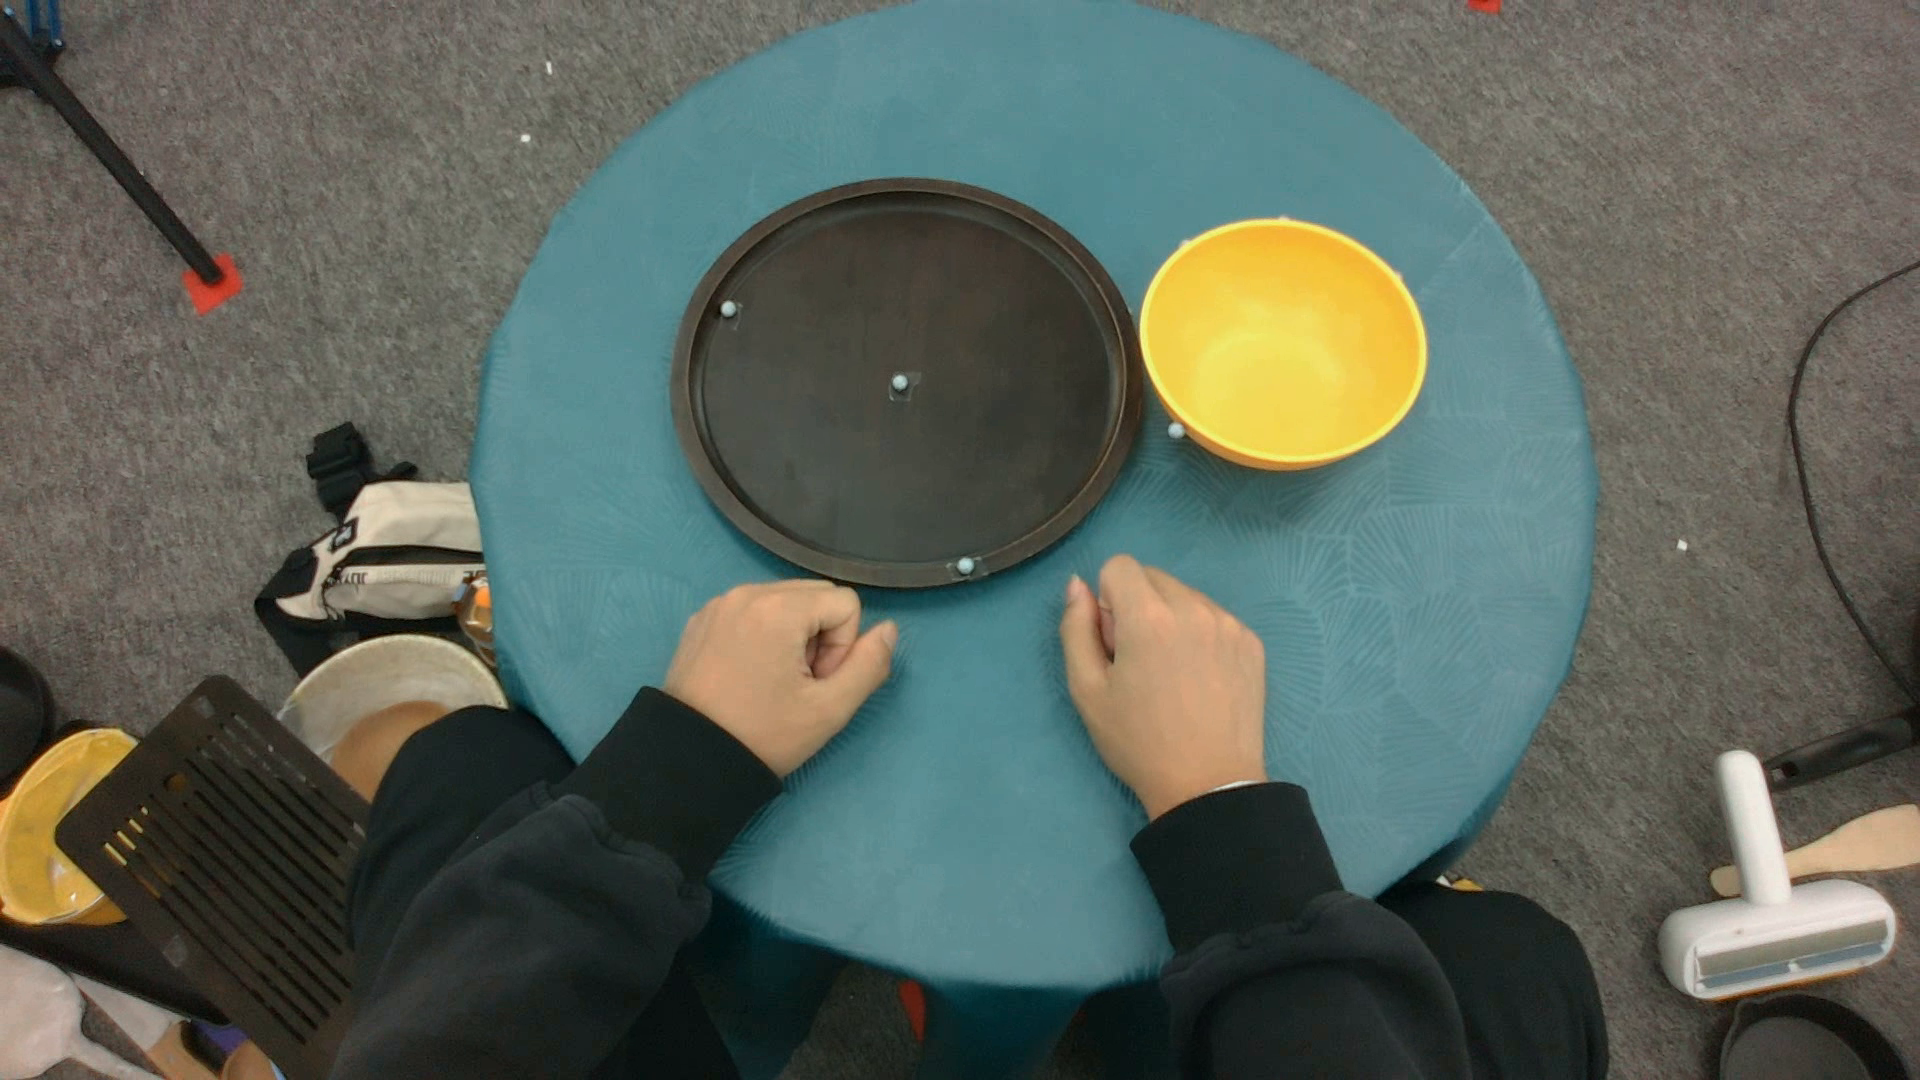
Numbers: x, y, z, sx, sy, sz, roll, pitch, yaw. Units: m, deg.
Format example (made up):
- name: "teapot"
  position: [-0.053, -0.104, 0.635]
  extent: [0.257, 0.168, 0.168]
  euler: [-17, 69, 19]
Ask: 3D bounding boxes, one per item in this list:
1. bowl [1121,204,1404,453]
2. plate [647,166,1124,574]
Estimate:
- name: "bowl"
  position: [0.155, -0.102, 0.731]
  extent: [0.145, 0.060, 0.146]
  euler: [0, 68, 0]
- name: "plate"
  position: [-0.039, -0.096, 0.739]
  extent: [0.255, 0.029, 0.255]
  euler: [2, 66, -4]
